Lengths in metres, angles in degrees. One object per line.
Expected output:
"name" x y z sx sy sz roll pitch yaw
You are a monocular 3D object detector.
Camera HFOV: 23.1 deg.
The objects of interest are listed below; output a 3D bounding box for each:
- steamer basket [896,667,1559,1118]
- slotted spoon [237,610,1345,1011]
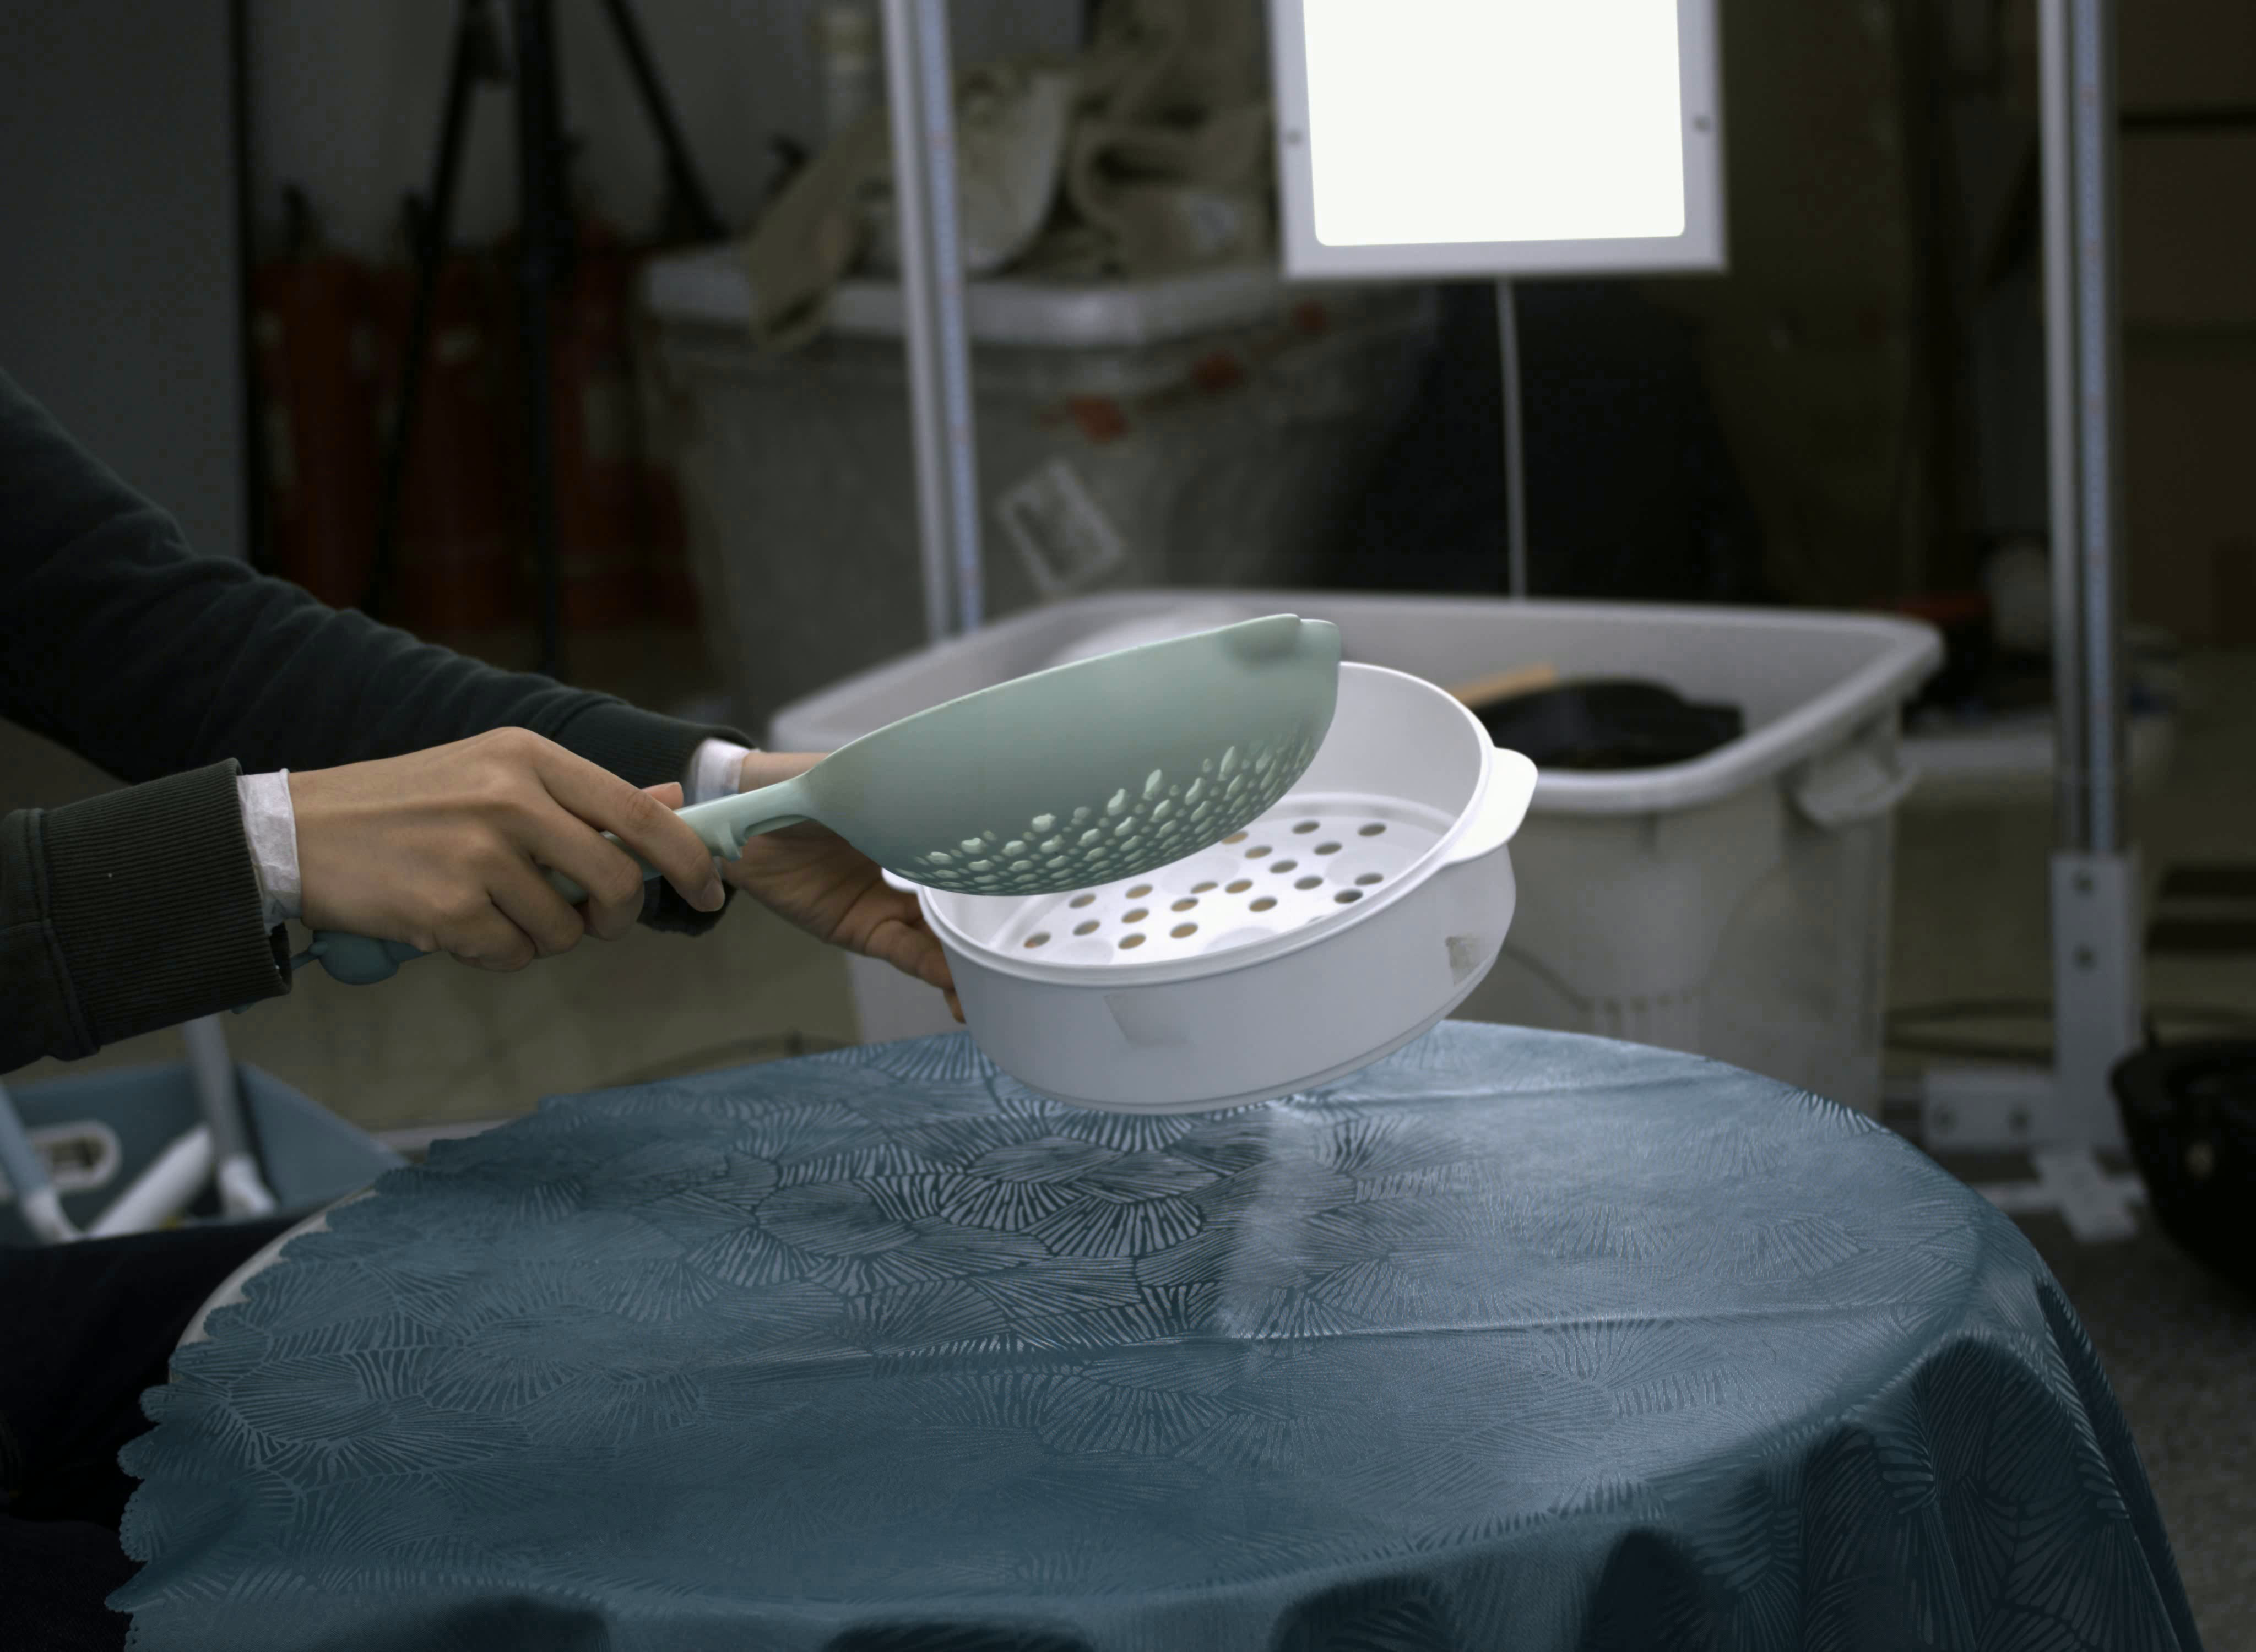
"steamer basket" 0.038 0.022 1.861 0.234 0.069 0.199 -4 29 22
"slotted spoon" -0.106 -0.003 1.713 0.359 0.075 0.168 -7 -7 5
